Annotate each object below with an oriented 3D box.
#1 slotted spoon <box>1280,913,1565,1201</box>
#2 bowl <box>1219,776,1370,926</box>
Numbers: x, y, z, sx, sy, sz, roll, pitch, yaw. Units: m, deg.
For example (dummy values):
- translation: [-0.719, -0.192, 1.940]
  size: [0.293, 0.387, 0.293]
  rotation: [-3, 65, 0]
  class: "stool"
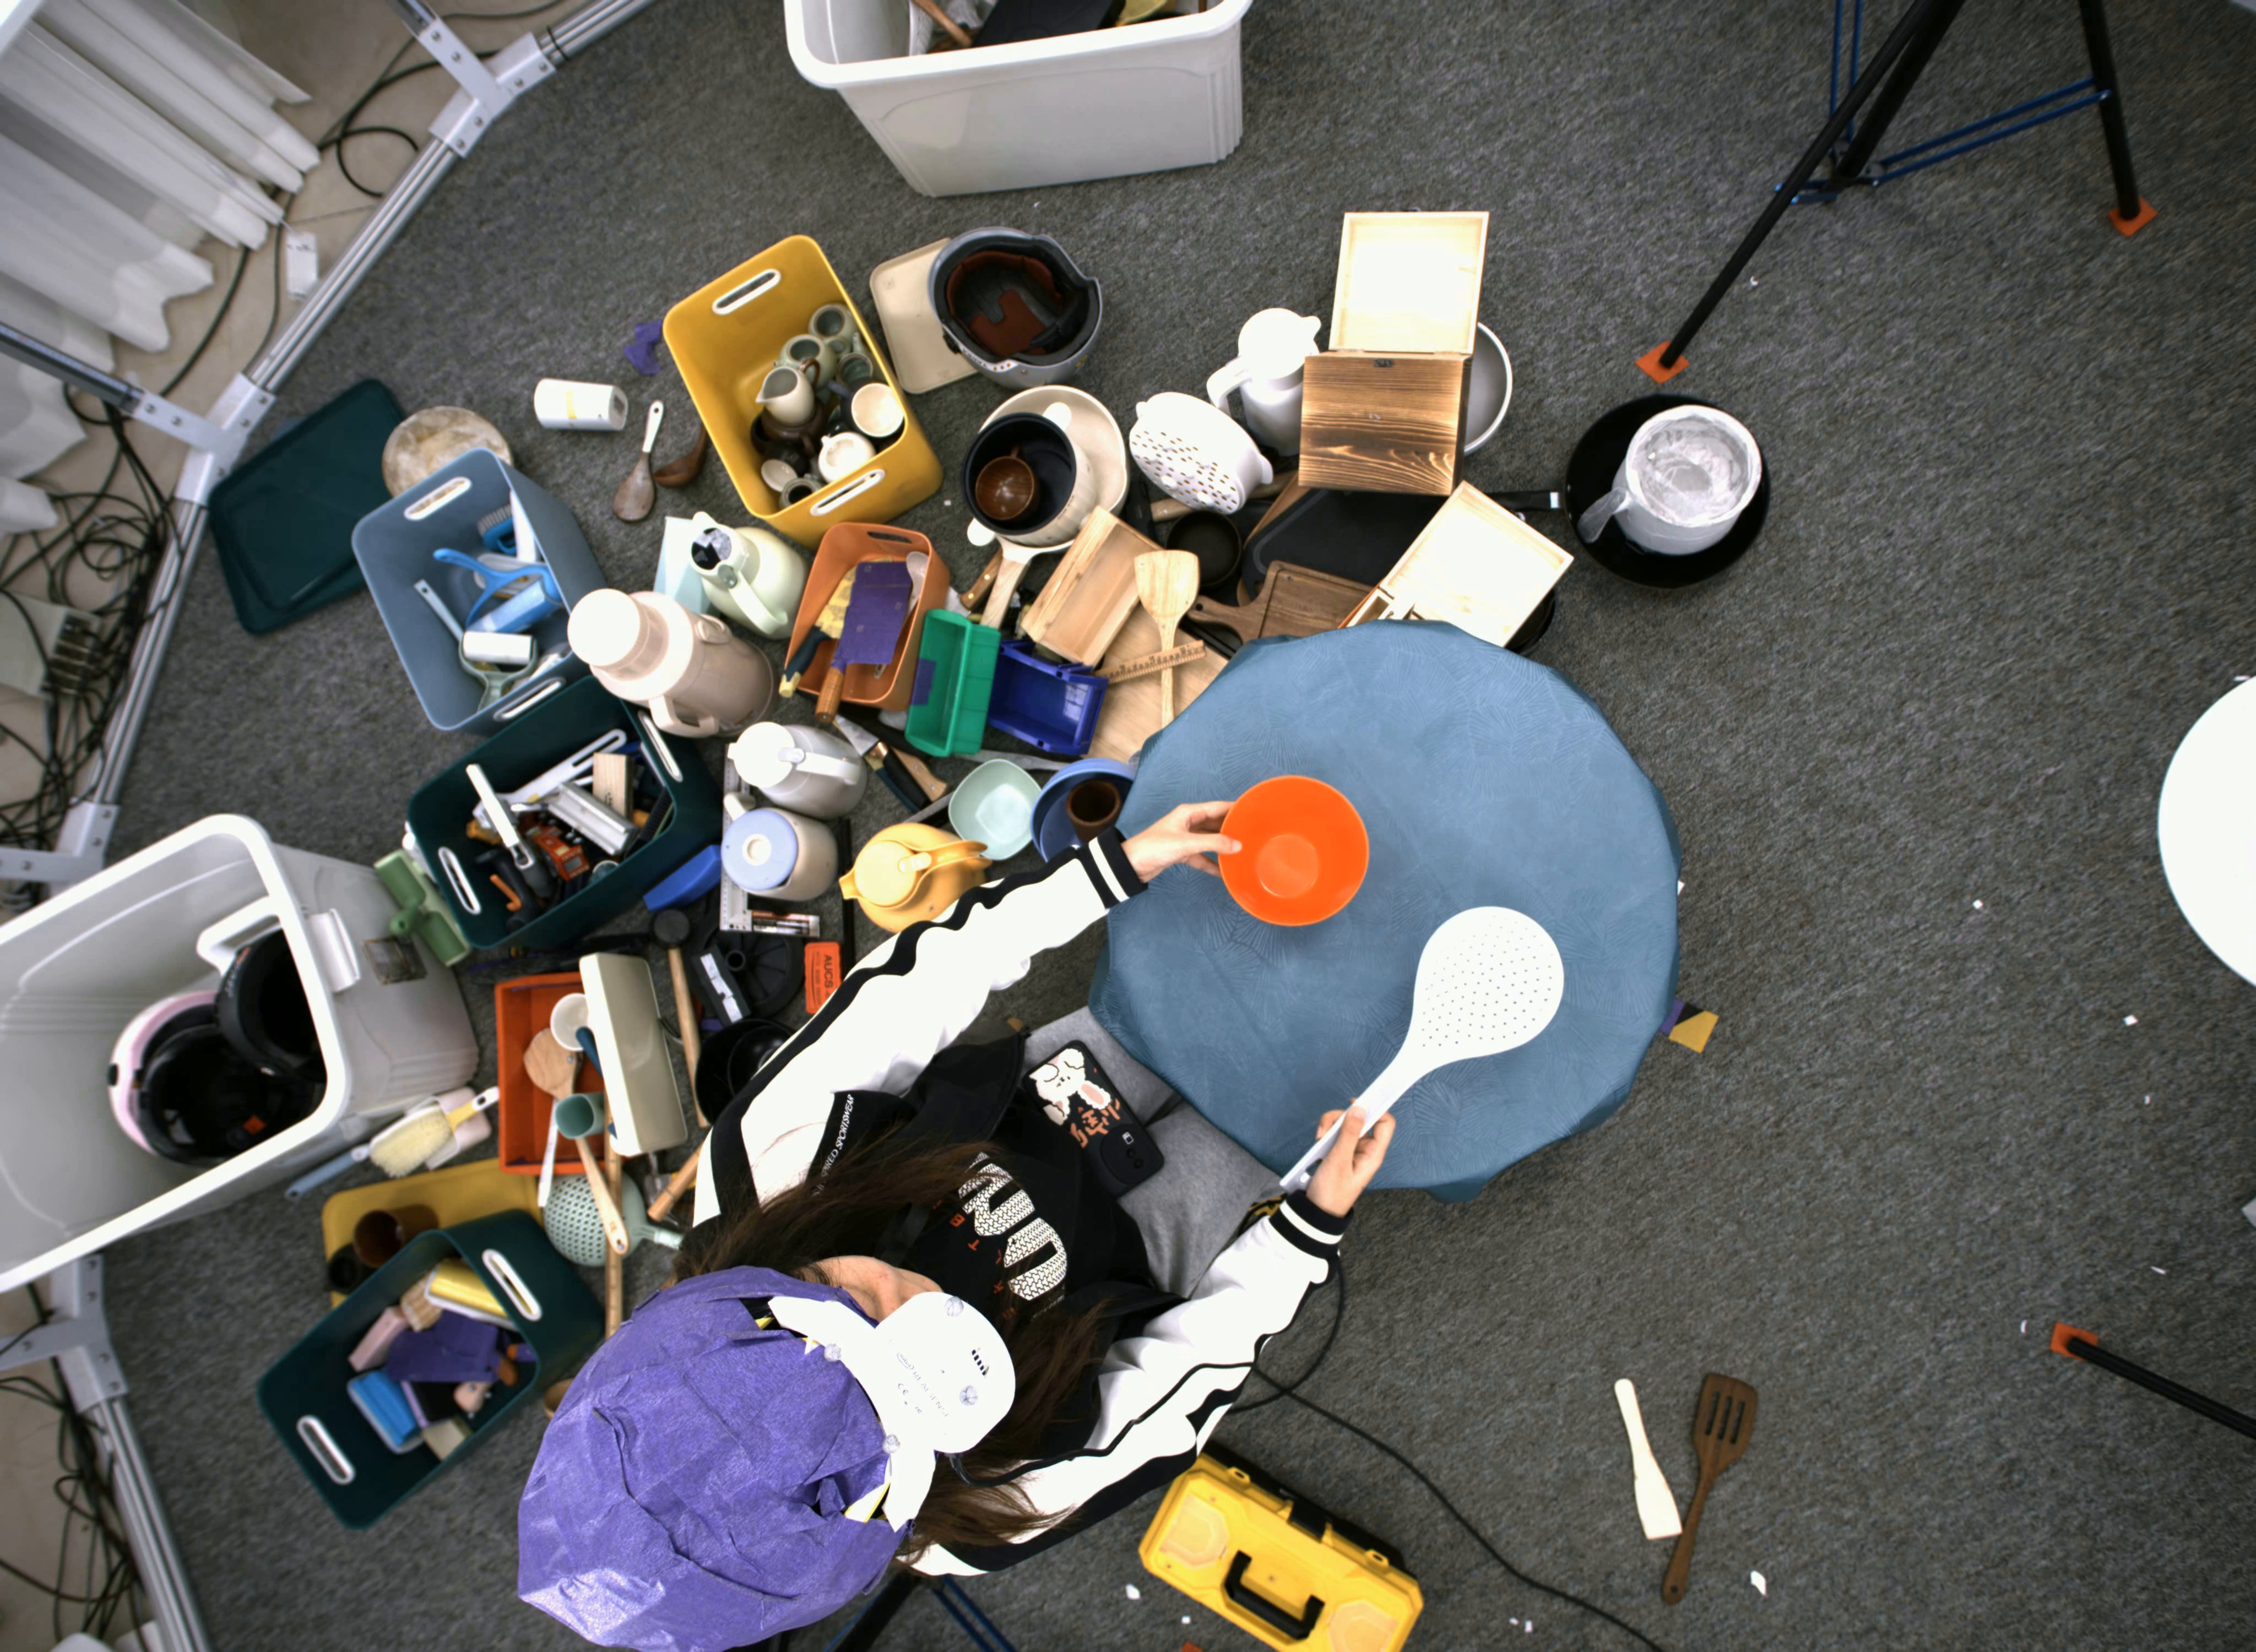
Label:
- translation: [0.275, 0.228, 1.333]
  size: [0.136, 0.045, 0.350]
  rotation: [43, 91, 0]
  class: "slotted spoon"
- translation: [0.165, 0.027, 1.399]
  size: [0.148, 0.104, 0.148]
  rotation: [0, 89, 4]
  class: "bowl"
